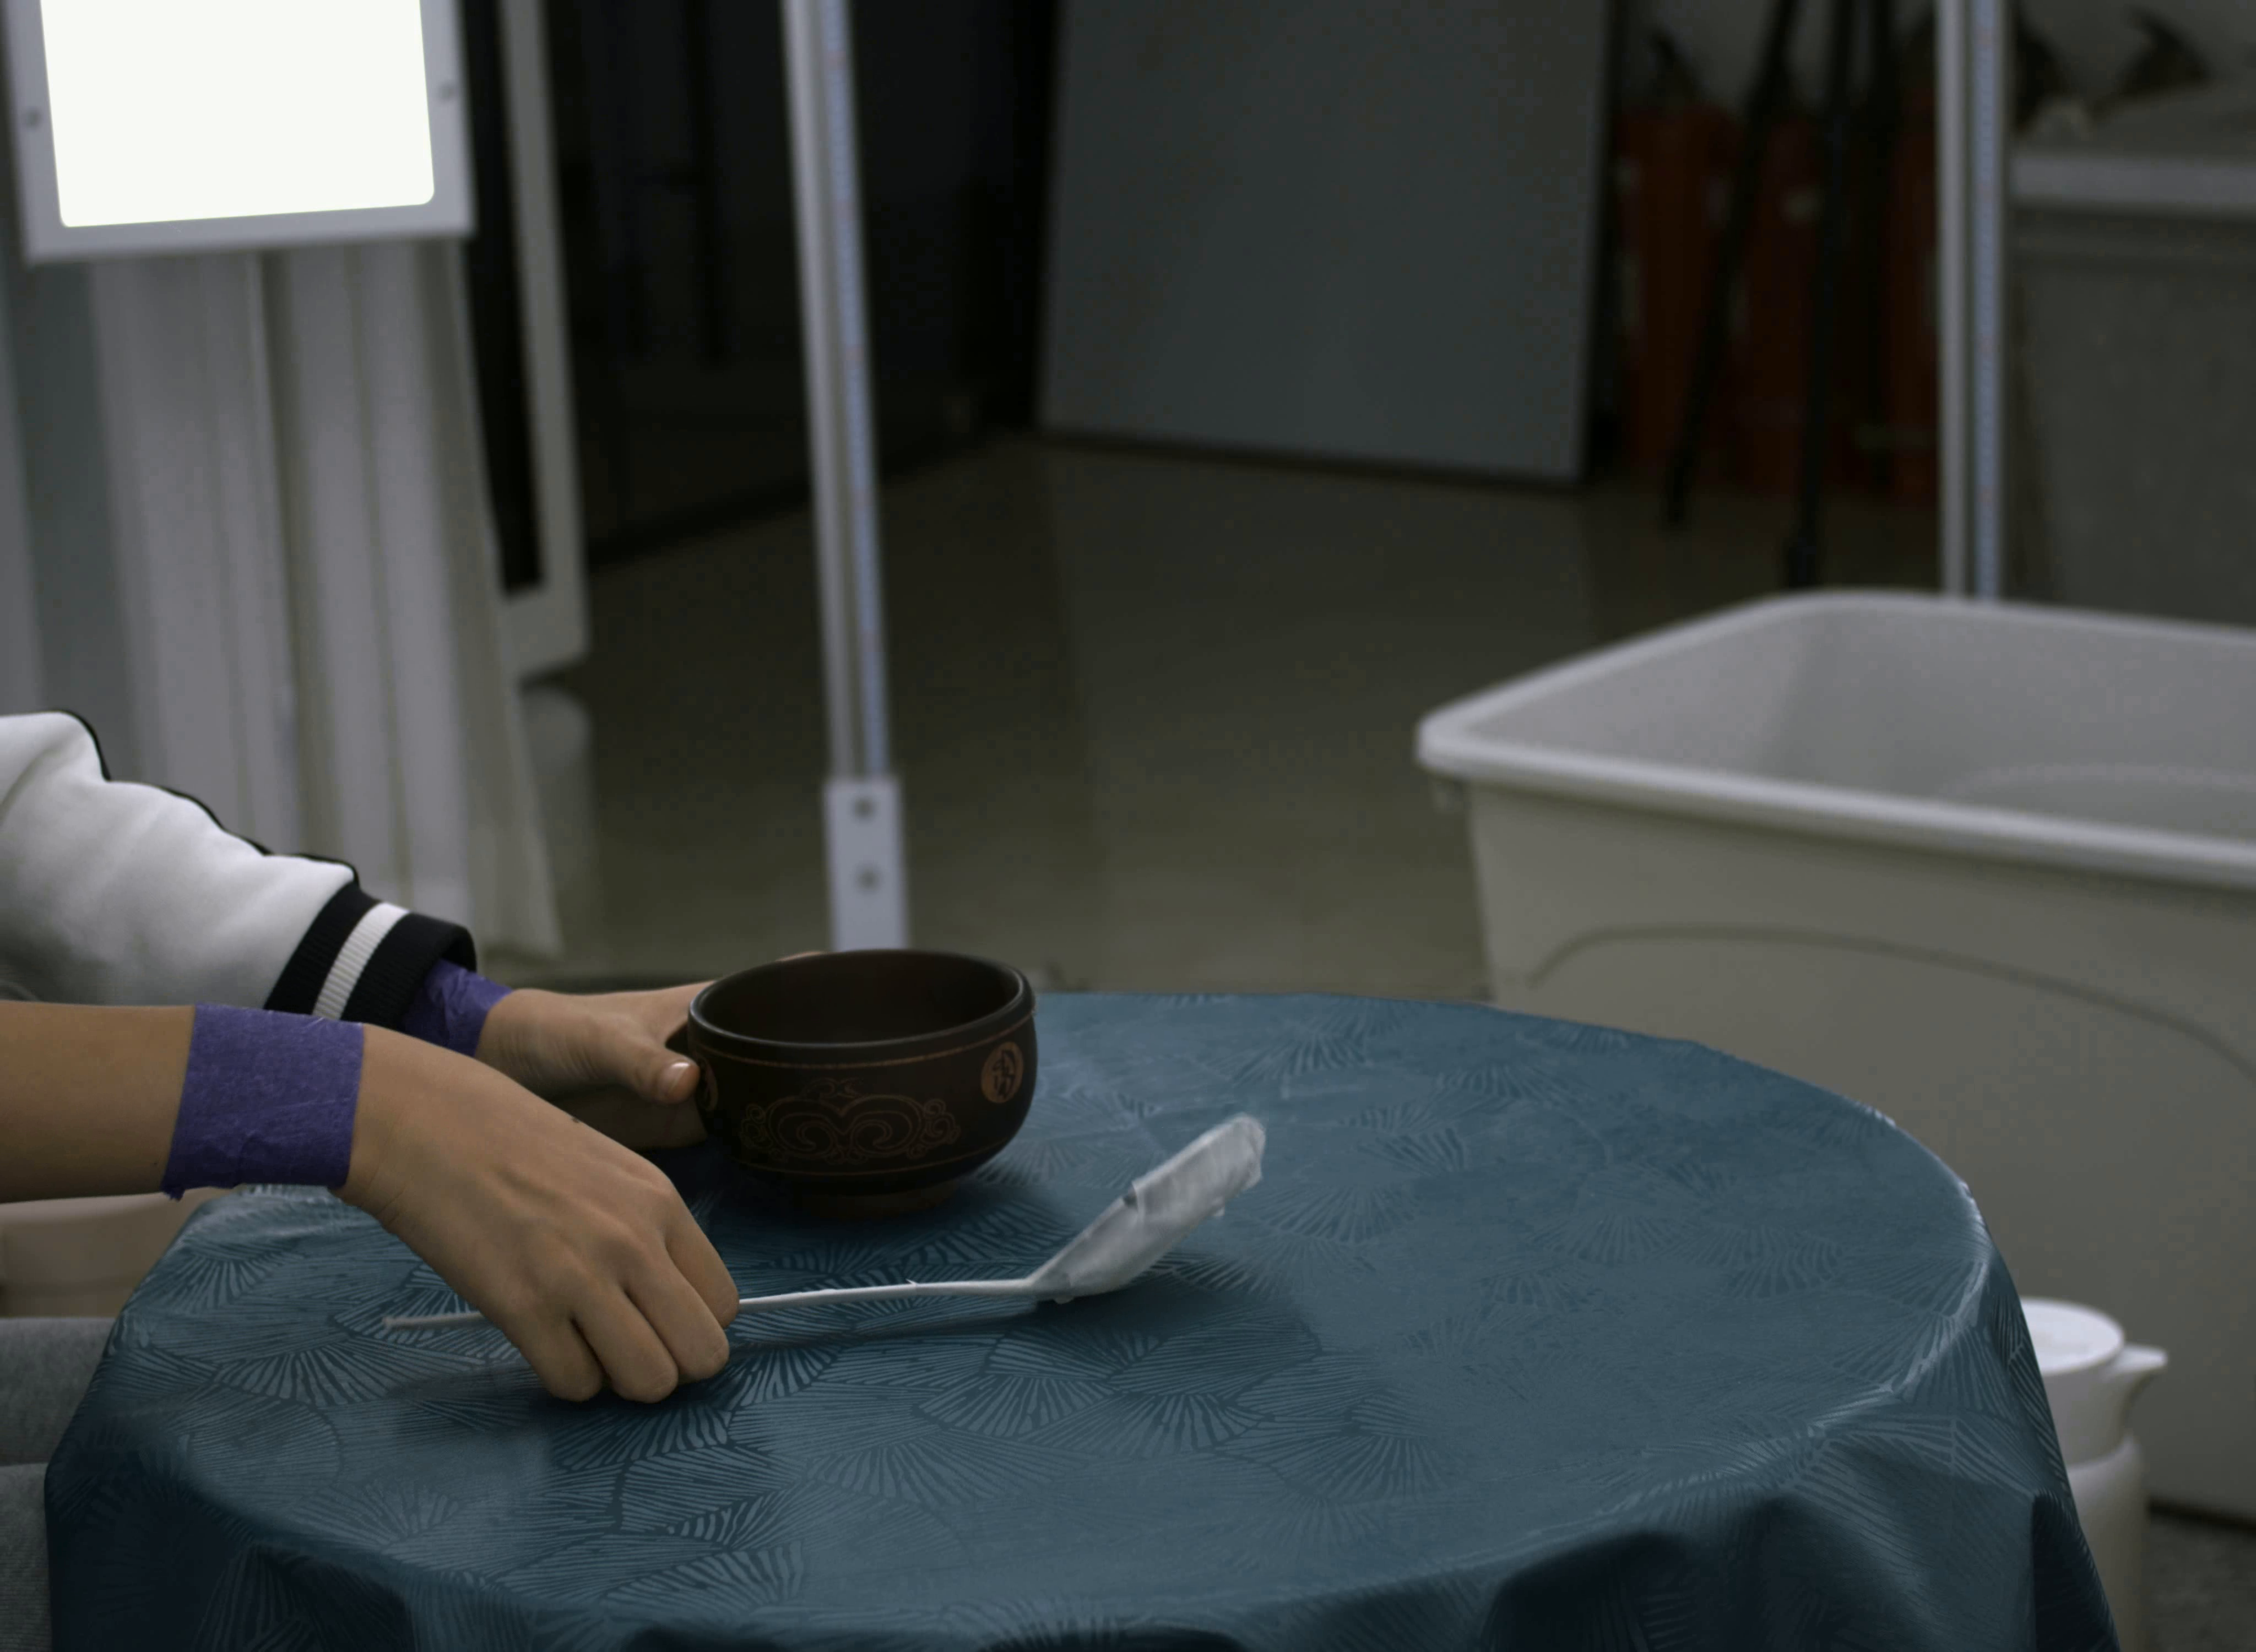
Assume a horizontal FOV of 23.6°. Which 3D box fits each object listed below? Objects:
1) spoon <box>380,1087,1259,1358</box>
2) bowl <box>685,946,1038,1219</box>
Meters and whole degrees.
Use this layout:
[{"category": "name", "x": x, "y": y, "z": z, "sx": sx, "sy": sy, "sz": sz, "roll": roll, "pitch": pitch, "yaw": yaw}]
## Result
[{"category": "spoon", "x": -0.093, "y": 0.123, "z": 1.661, "sx": 0.273, "sy": 0.060, "sz": 0.101, "roll": -5, "pitch": -22, "yaw": -2}, {"category": "bowl", "x": -0.086, "y": 0.088, "z": 1.778, "sx": 0.116, "sy": 0.070, "sz": 0.118, "roll": -4, "pitch": 13, "yaw": 0}]
